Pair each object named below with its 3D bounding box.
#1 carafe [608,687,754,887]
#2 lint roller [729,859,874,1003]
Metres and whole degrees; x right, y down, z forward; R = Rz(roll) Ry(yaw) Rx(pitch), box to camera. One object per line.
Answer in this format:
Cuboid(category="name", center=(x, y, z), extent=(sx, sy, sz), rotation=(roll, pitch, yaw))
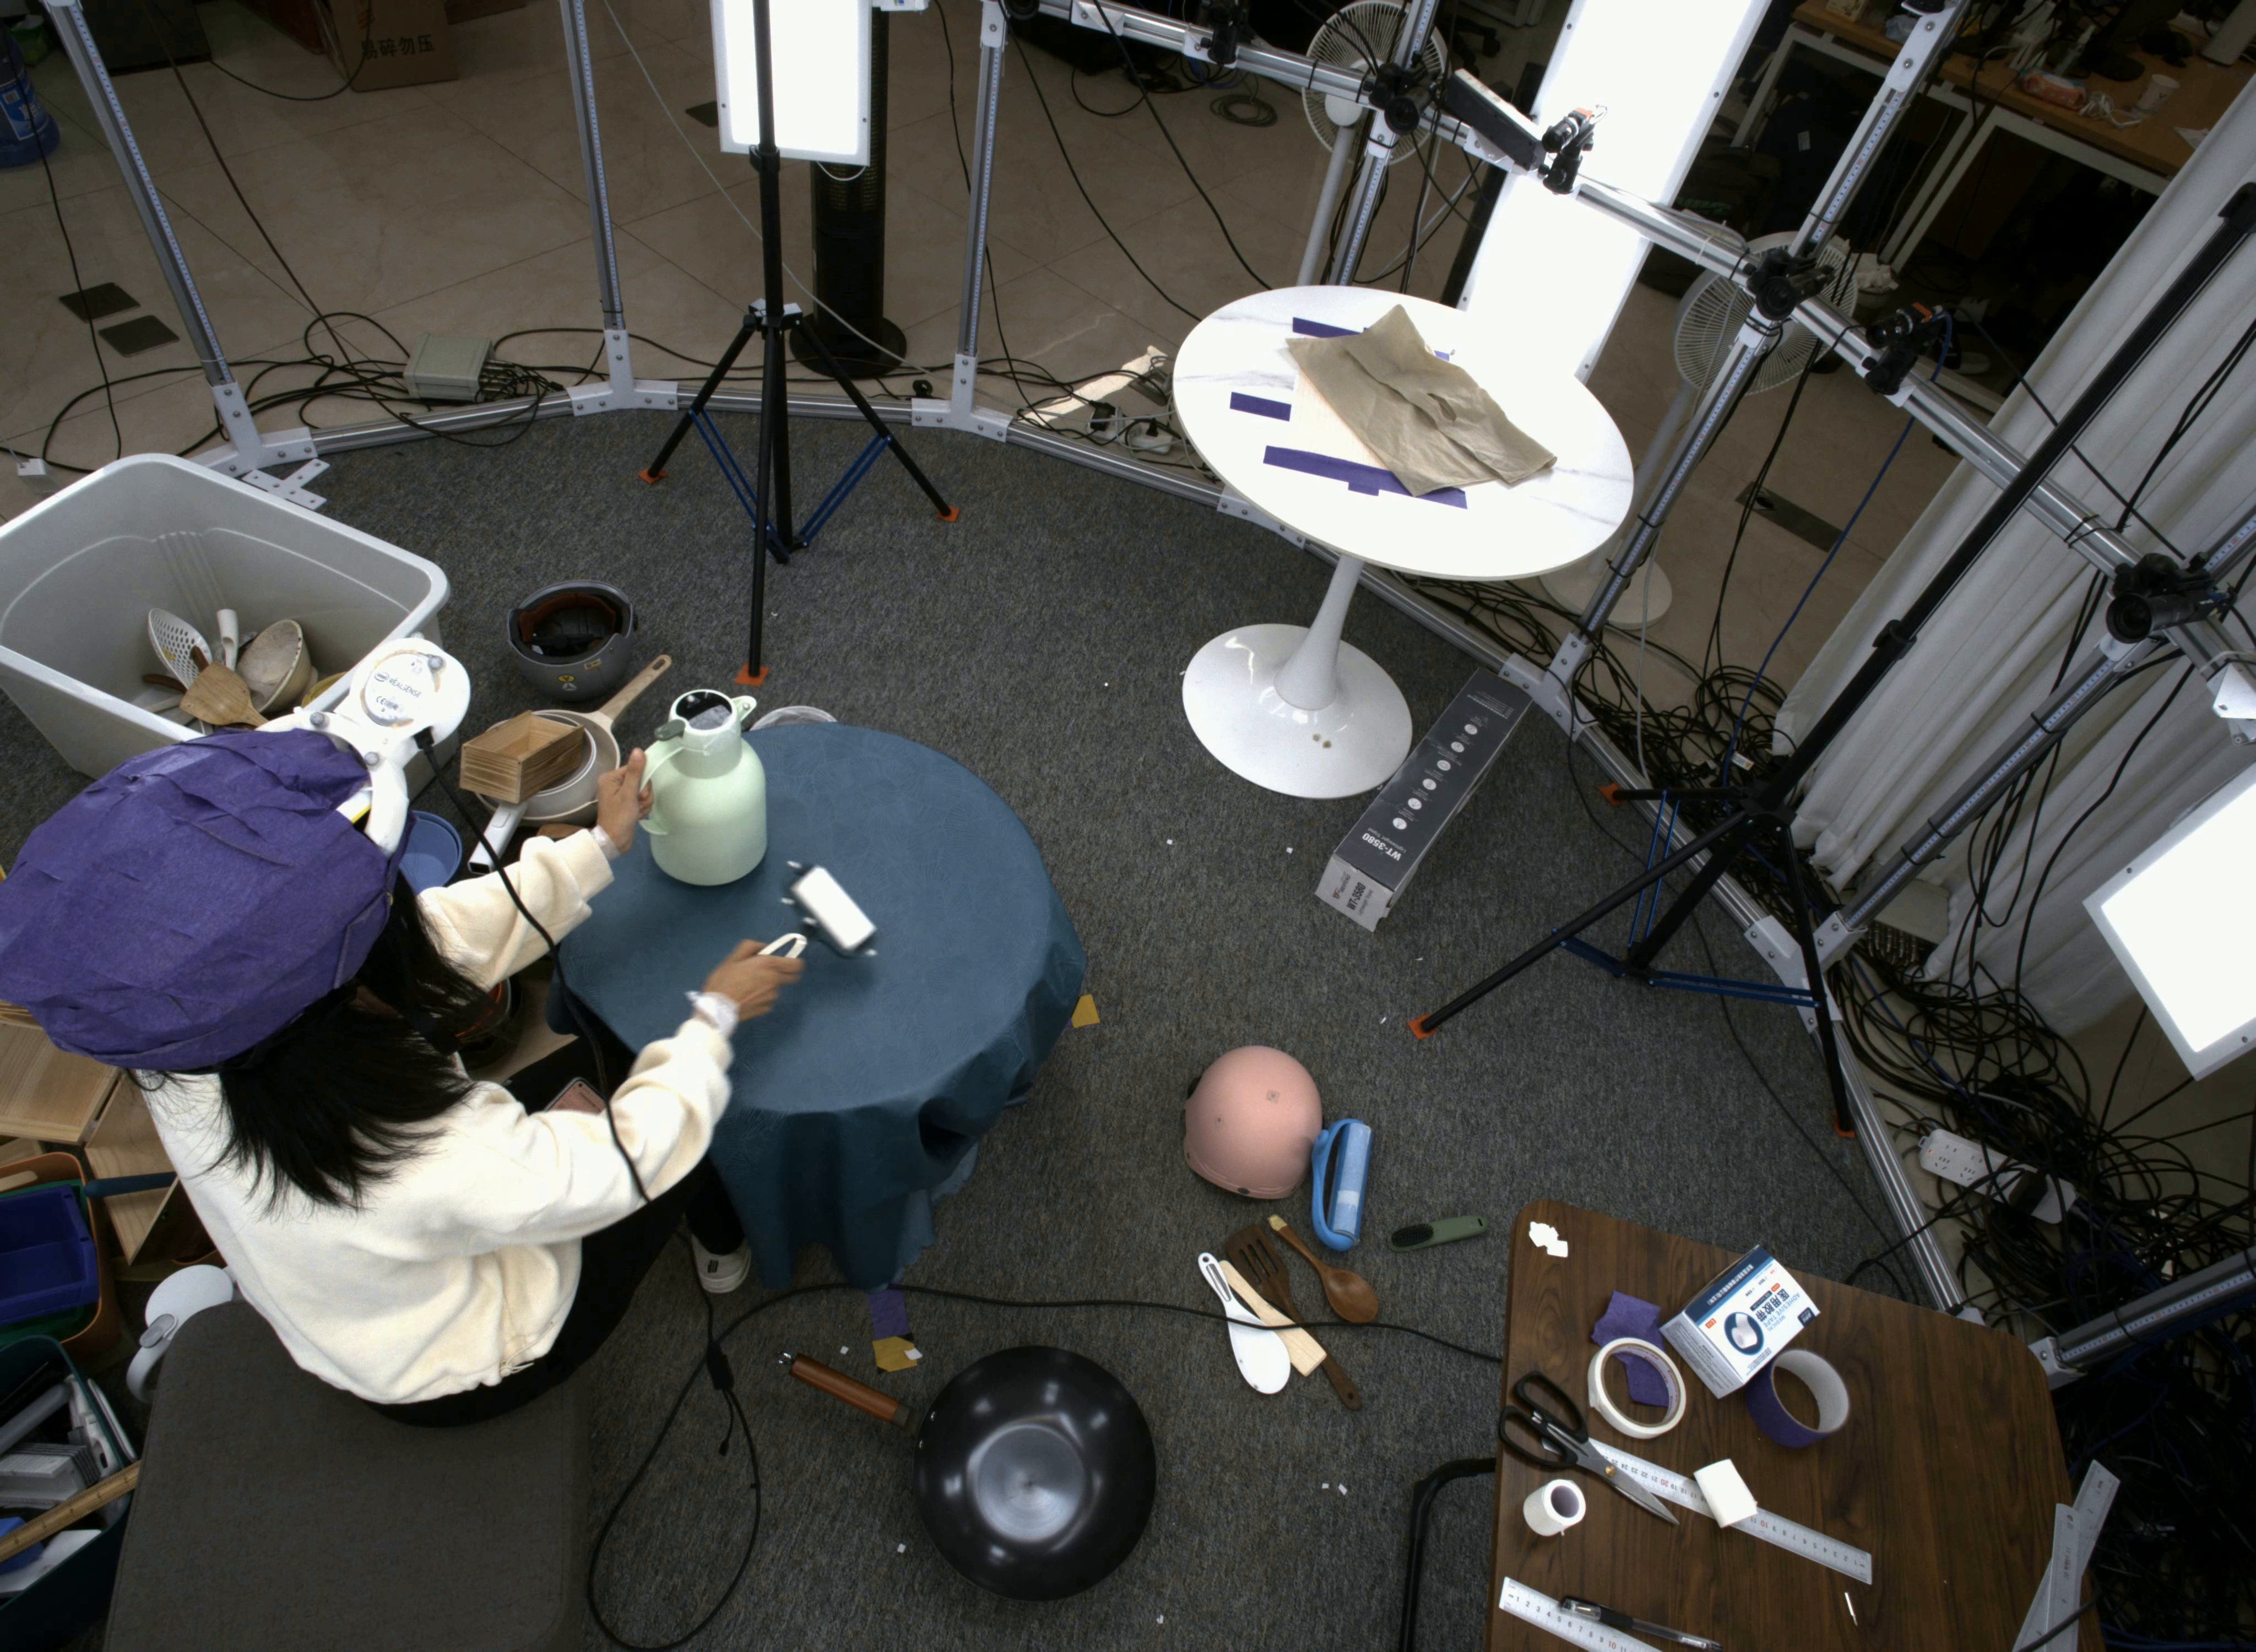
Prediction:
Cuboid(category="carafe", center=(-0.541, -0.046, 1.557), extent=(0.141, 0.262, 0.187), rotation=(38, 55, 16))
Cuboid(category="lint roller", center=(-0.398, 0.139, 1.528), extent=(0.136, 0.048, 0.180), rotation=(50, 50, -7))
